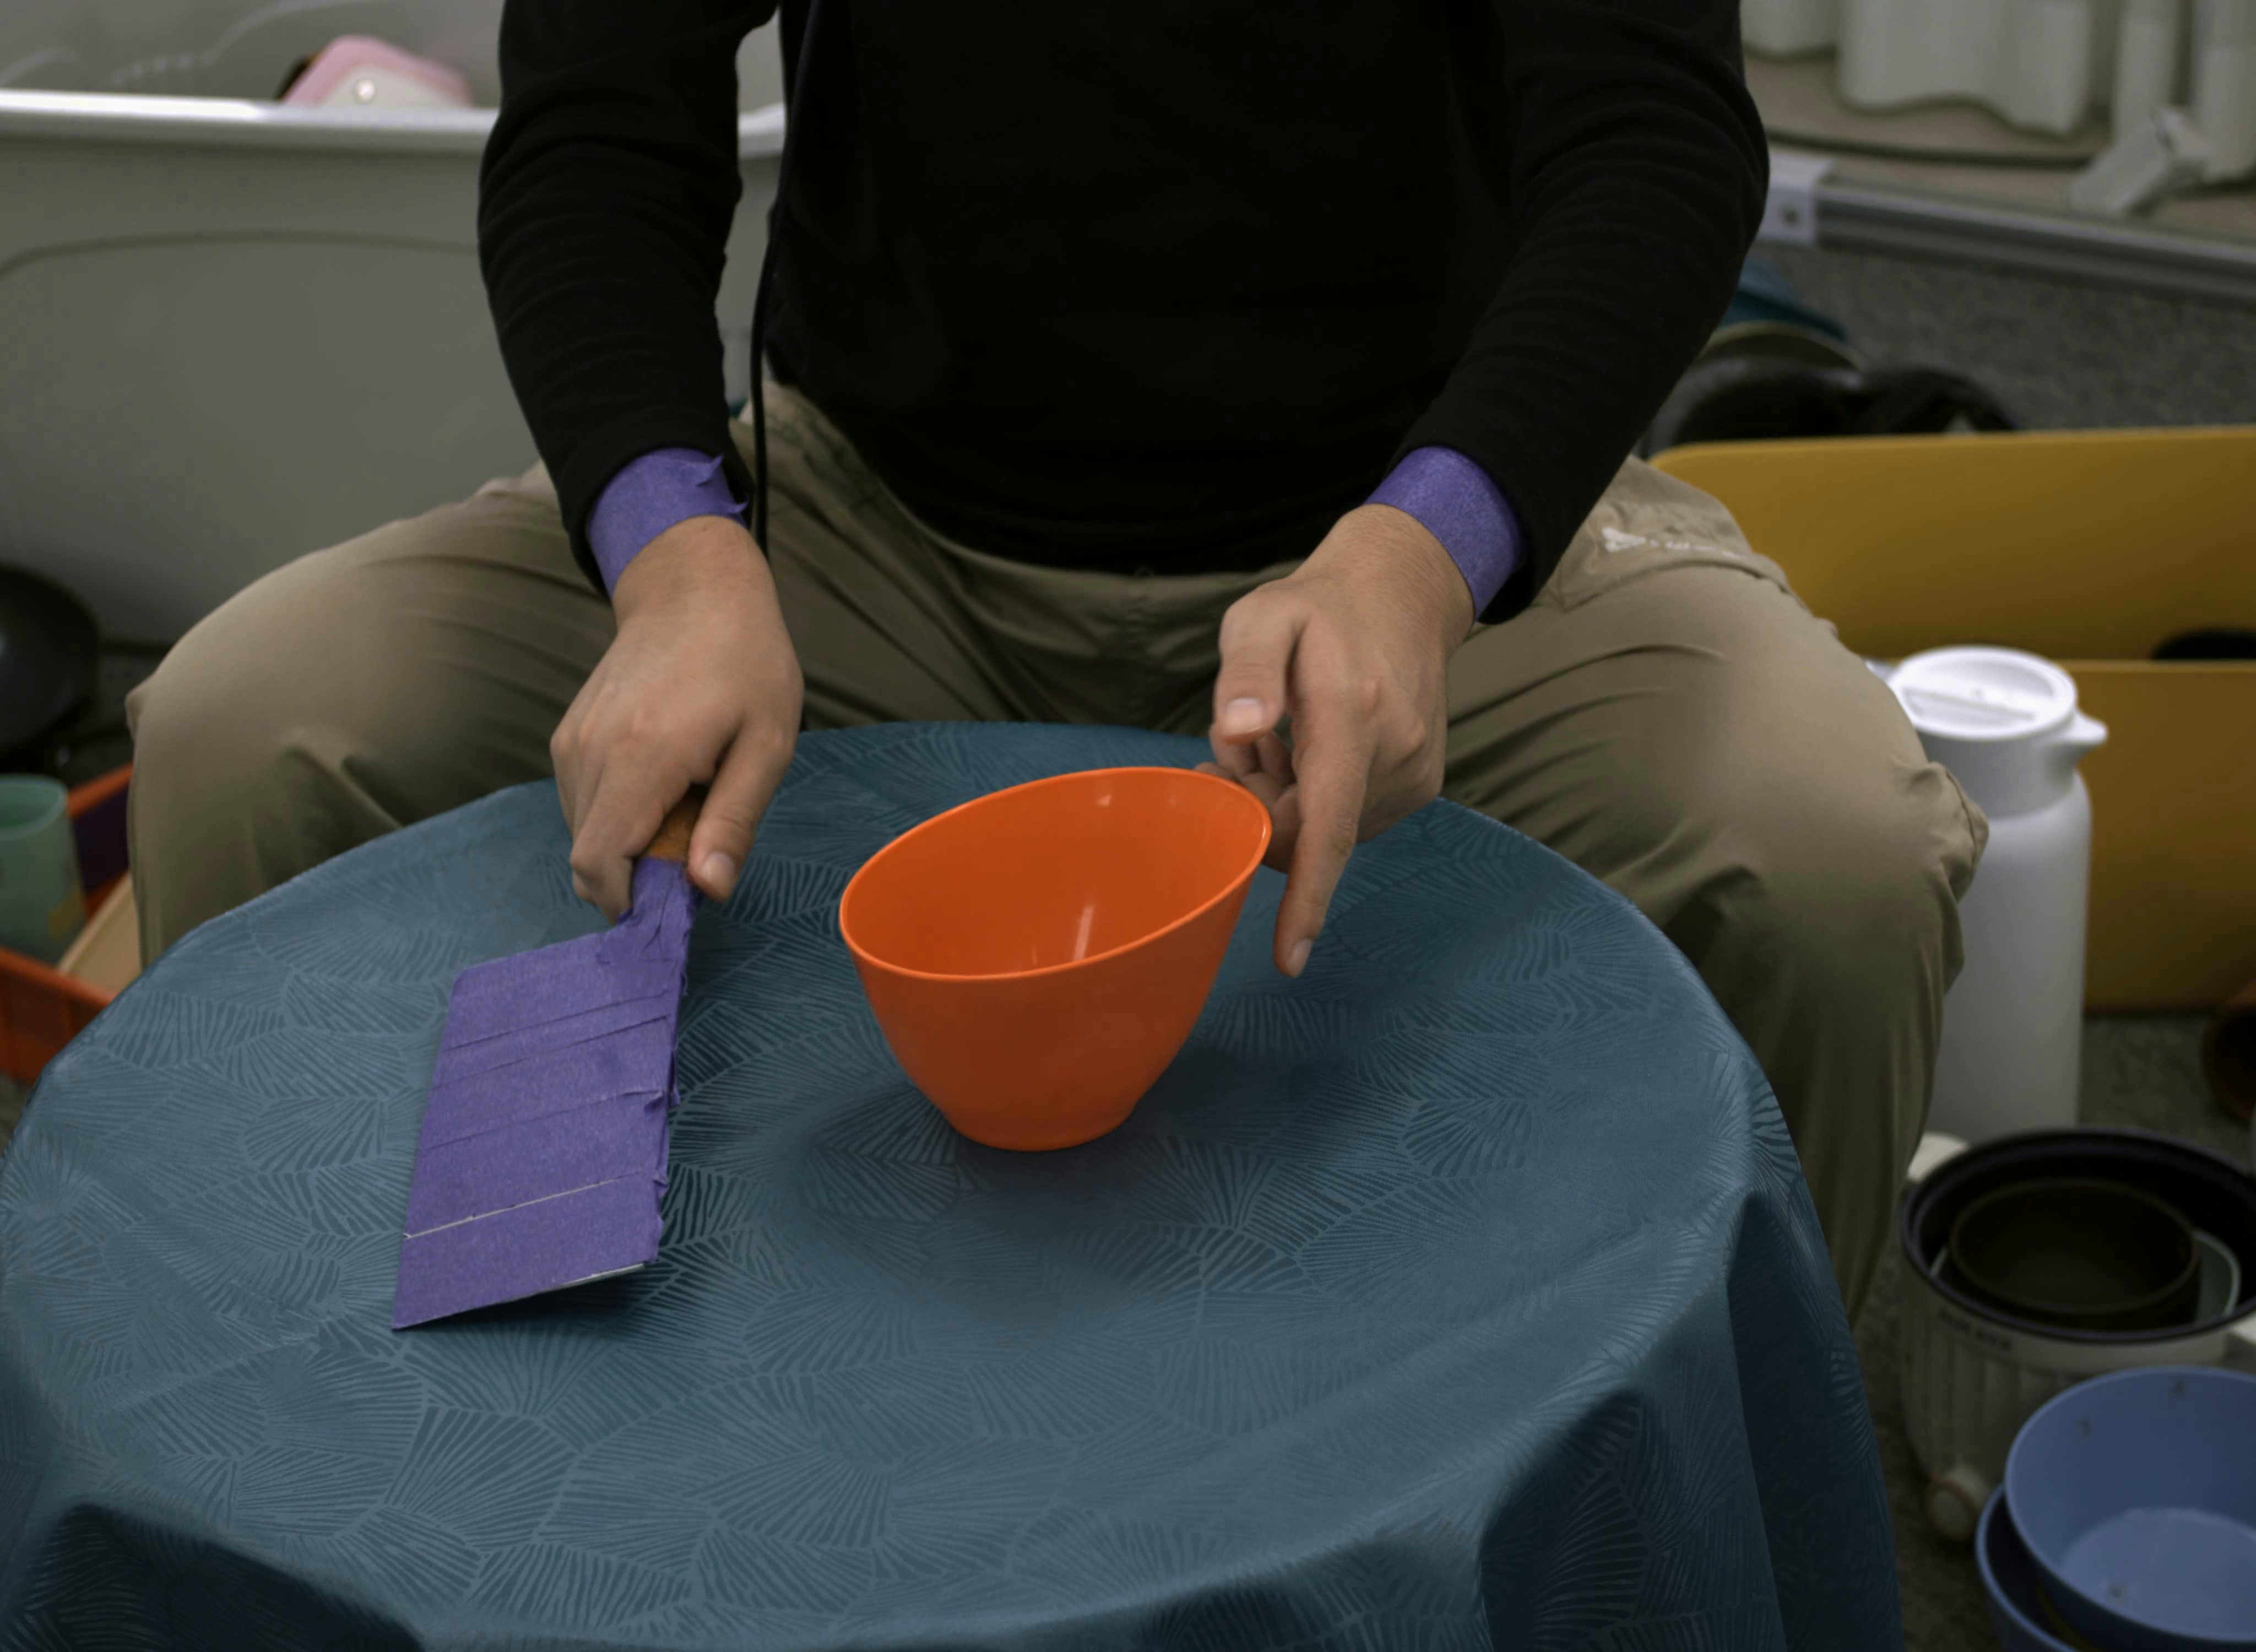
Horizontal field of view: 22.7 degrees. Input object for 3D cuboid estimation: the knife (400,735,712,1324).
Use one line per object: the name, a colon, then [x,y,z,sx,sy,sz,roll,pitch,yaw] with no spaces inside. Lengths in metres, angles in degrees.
knife: [-0.195,0.065,1.925,0.103,0.032,0.320,-14,29,7]

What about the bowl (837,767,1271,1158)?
bowl: [-0.023,0.052,1.888,0.147,0.103,0.150,-3,28,2]
